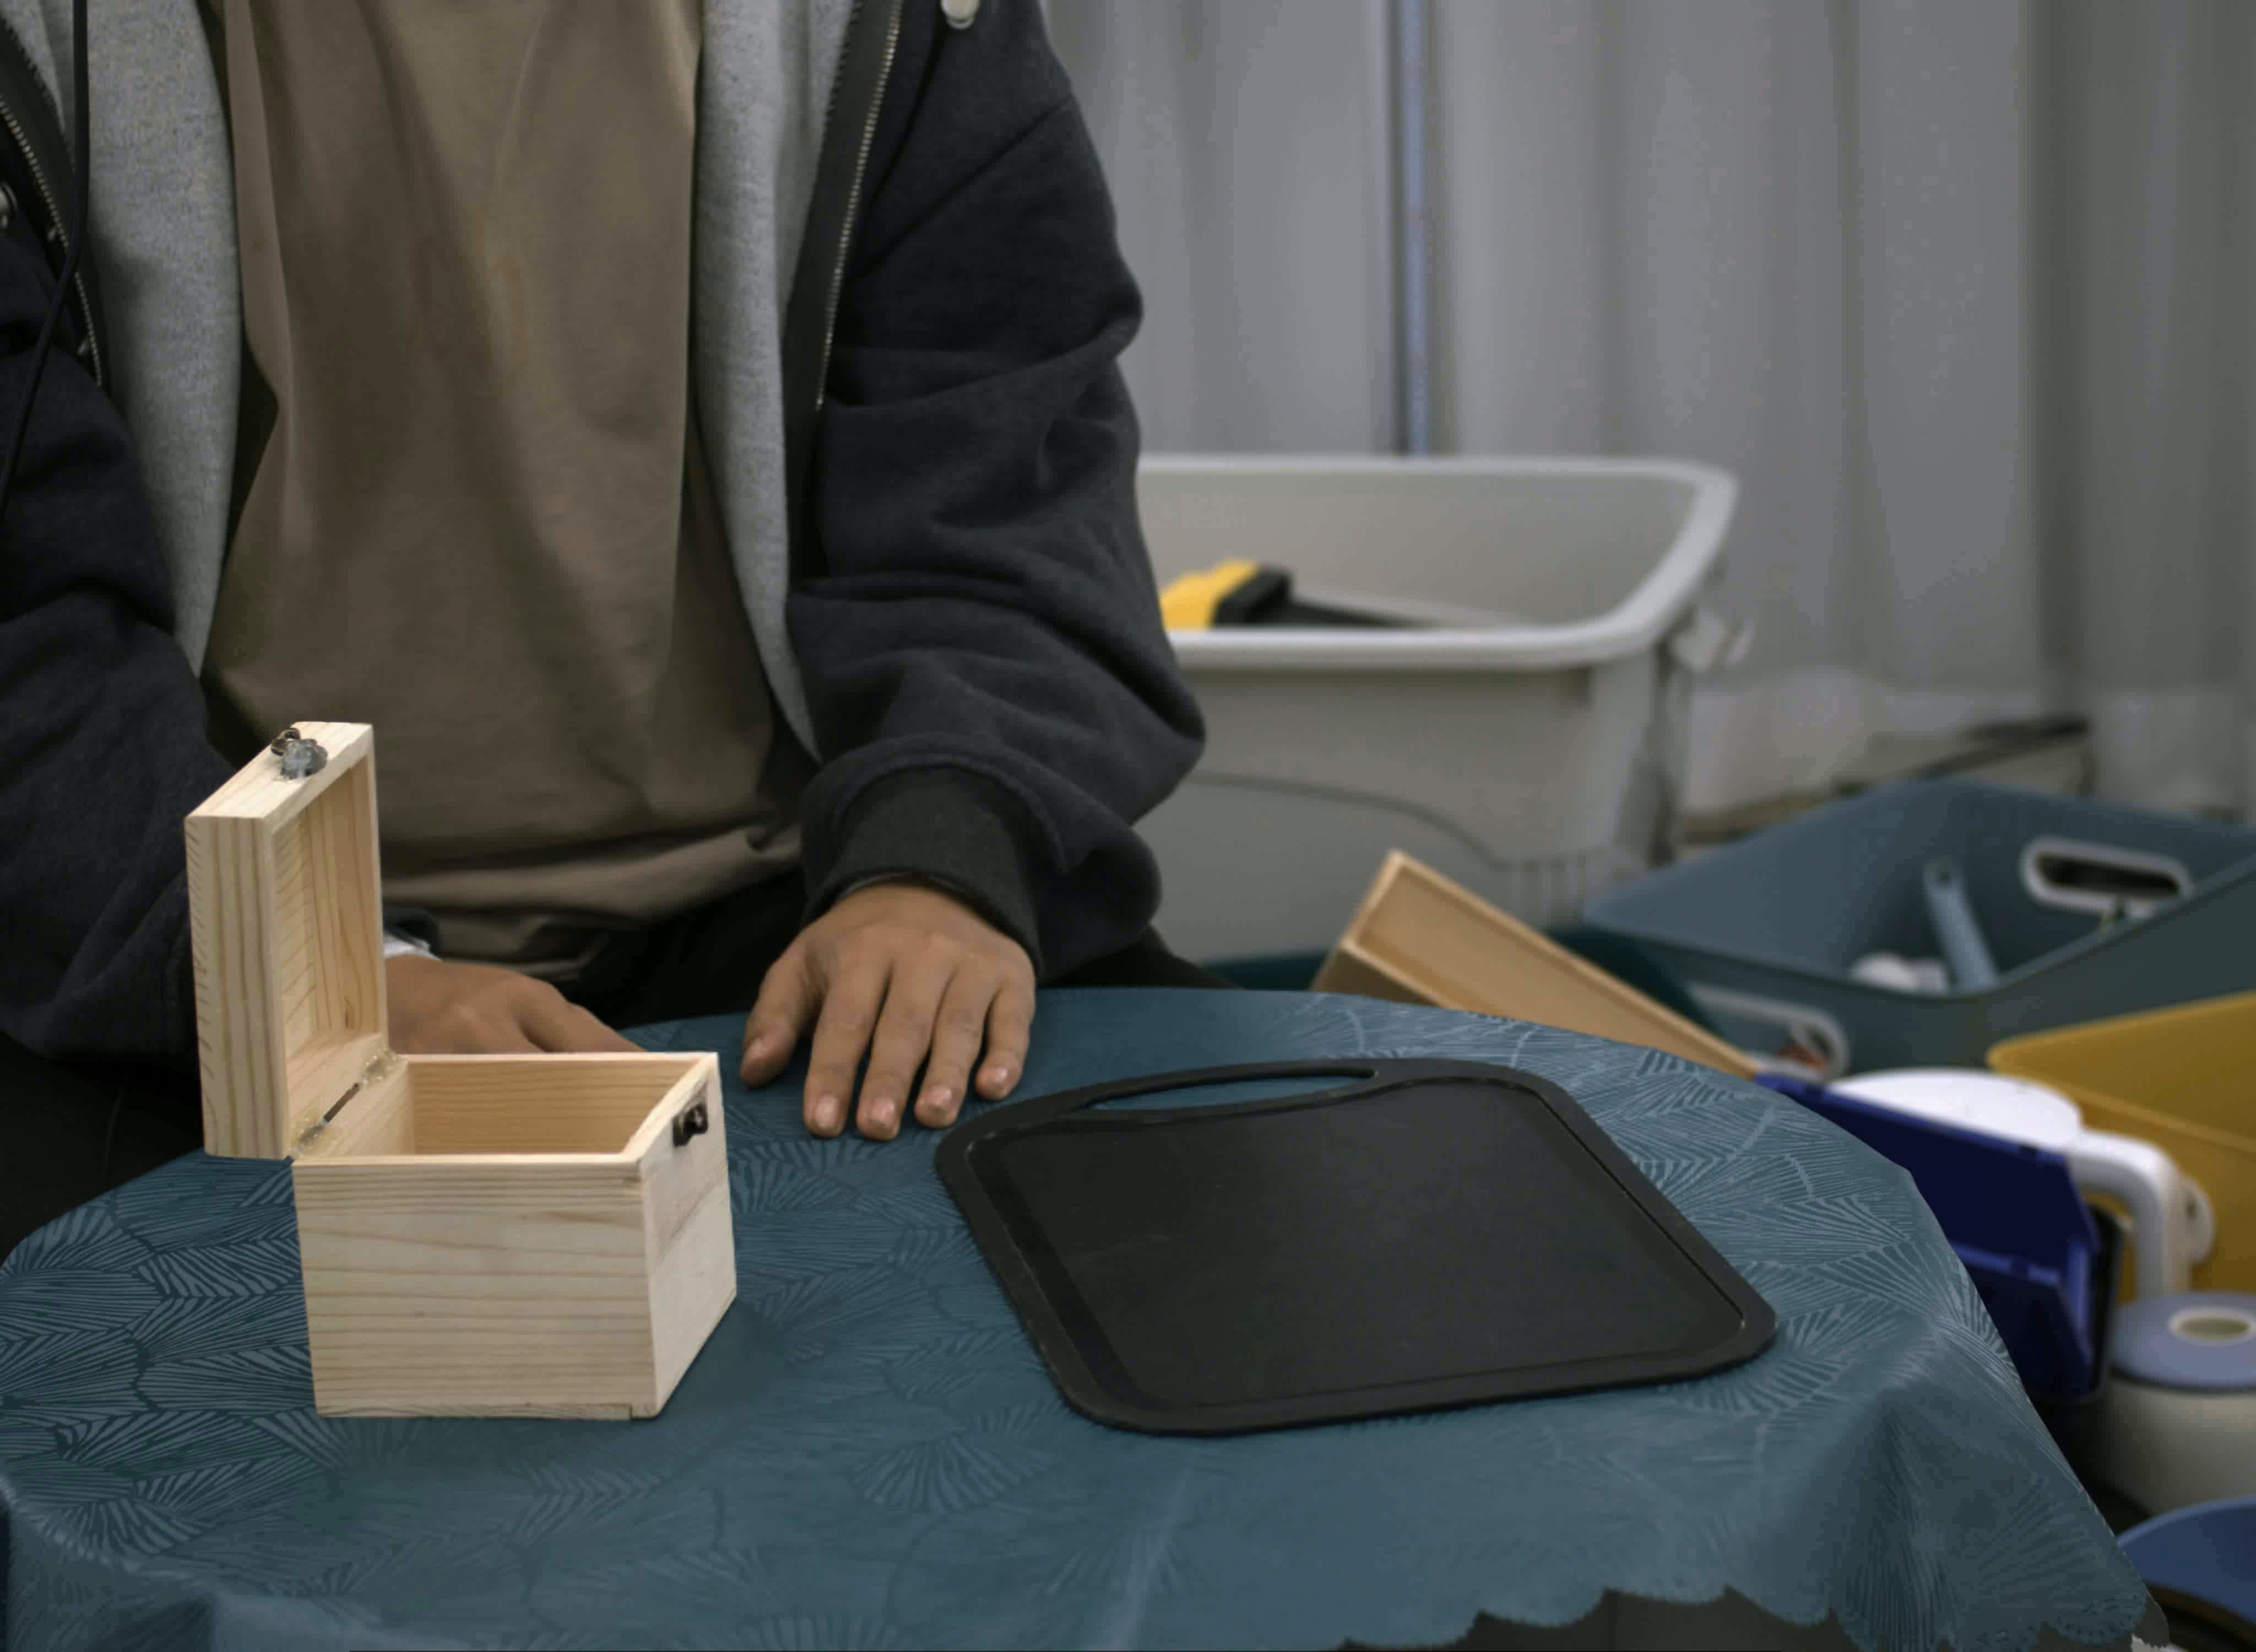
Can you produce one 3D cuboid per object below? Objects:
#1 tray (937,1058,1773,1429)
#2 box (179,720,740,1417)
[{"bbox_3d":[0.059,0.120,1.671,0.210,0.010,0.328,-5,15,-10],"label":"tray"},{"bbox_3d":[-0.188,0.067,1.577,0.133,0.184,0.103,-2,14,10],"label":"box"}]
